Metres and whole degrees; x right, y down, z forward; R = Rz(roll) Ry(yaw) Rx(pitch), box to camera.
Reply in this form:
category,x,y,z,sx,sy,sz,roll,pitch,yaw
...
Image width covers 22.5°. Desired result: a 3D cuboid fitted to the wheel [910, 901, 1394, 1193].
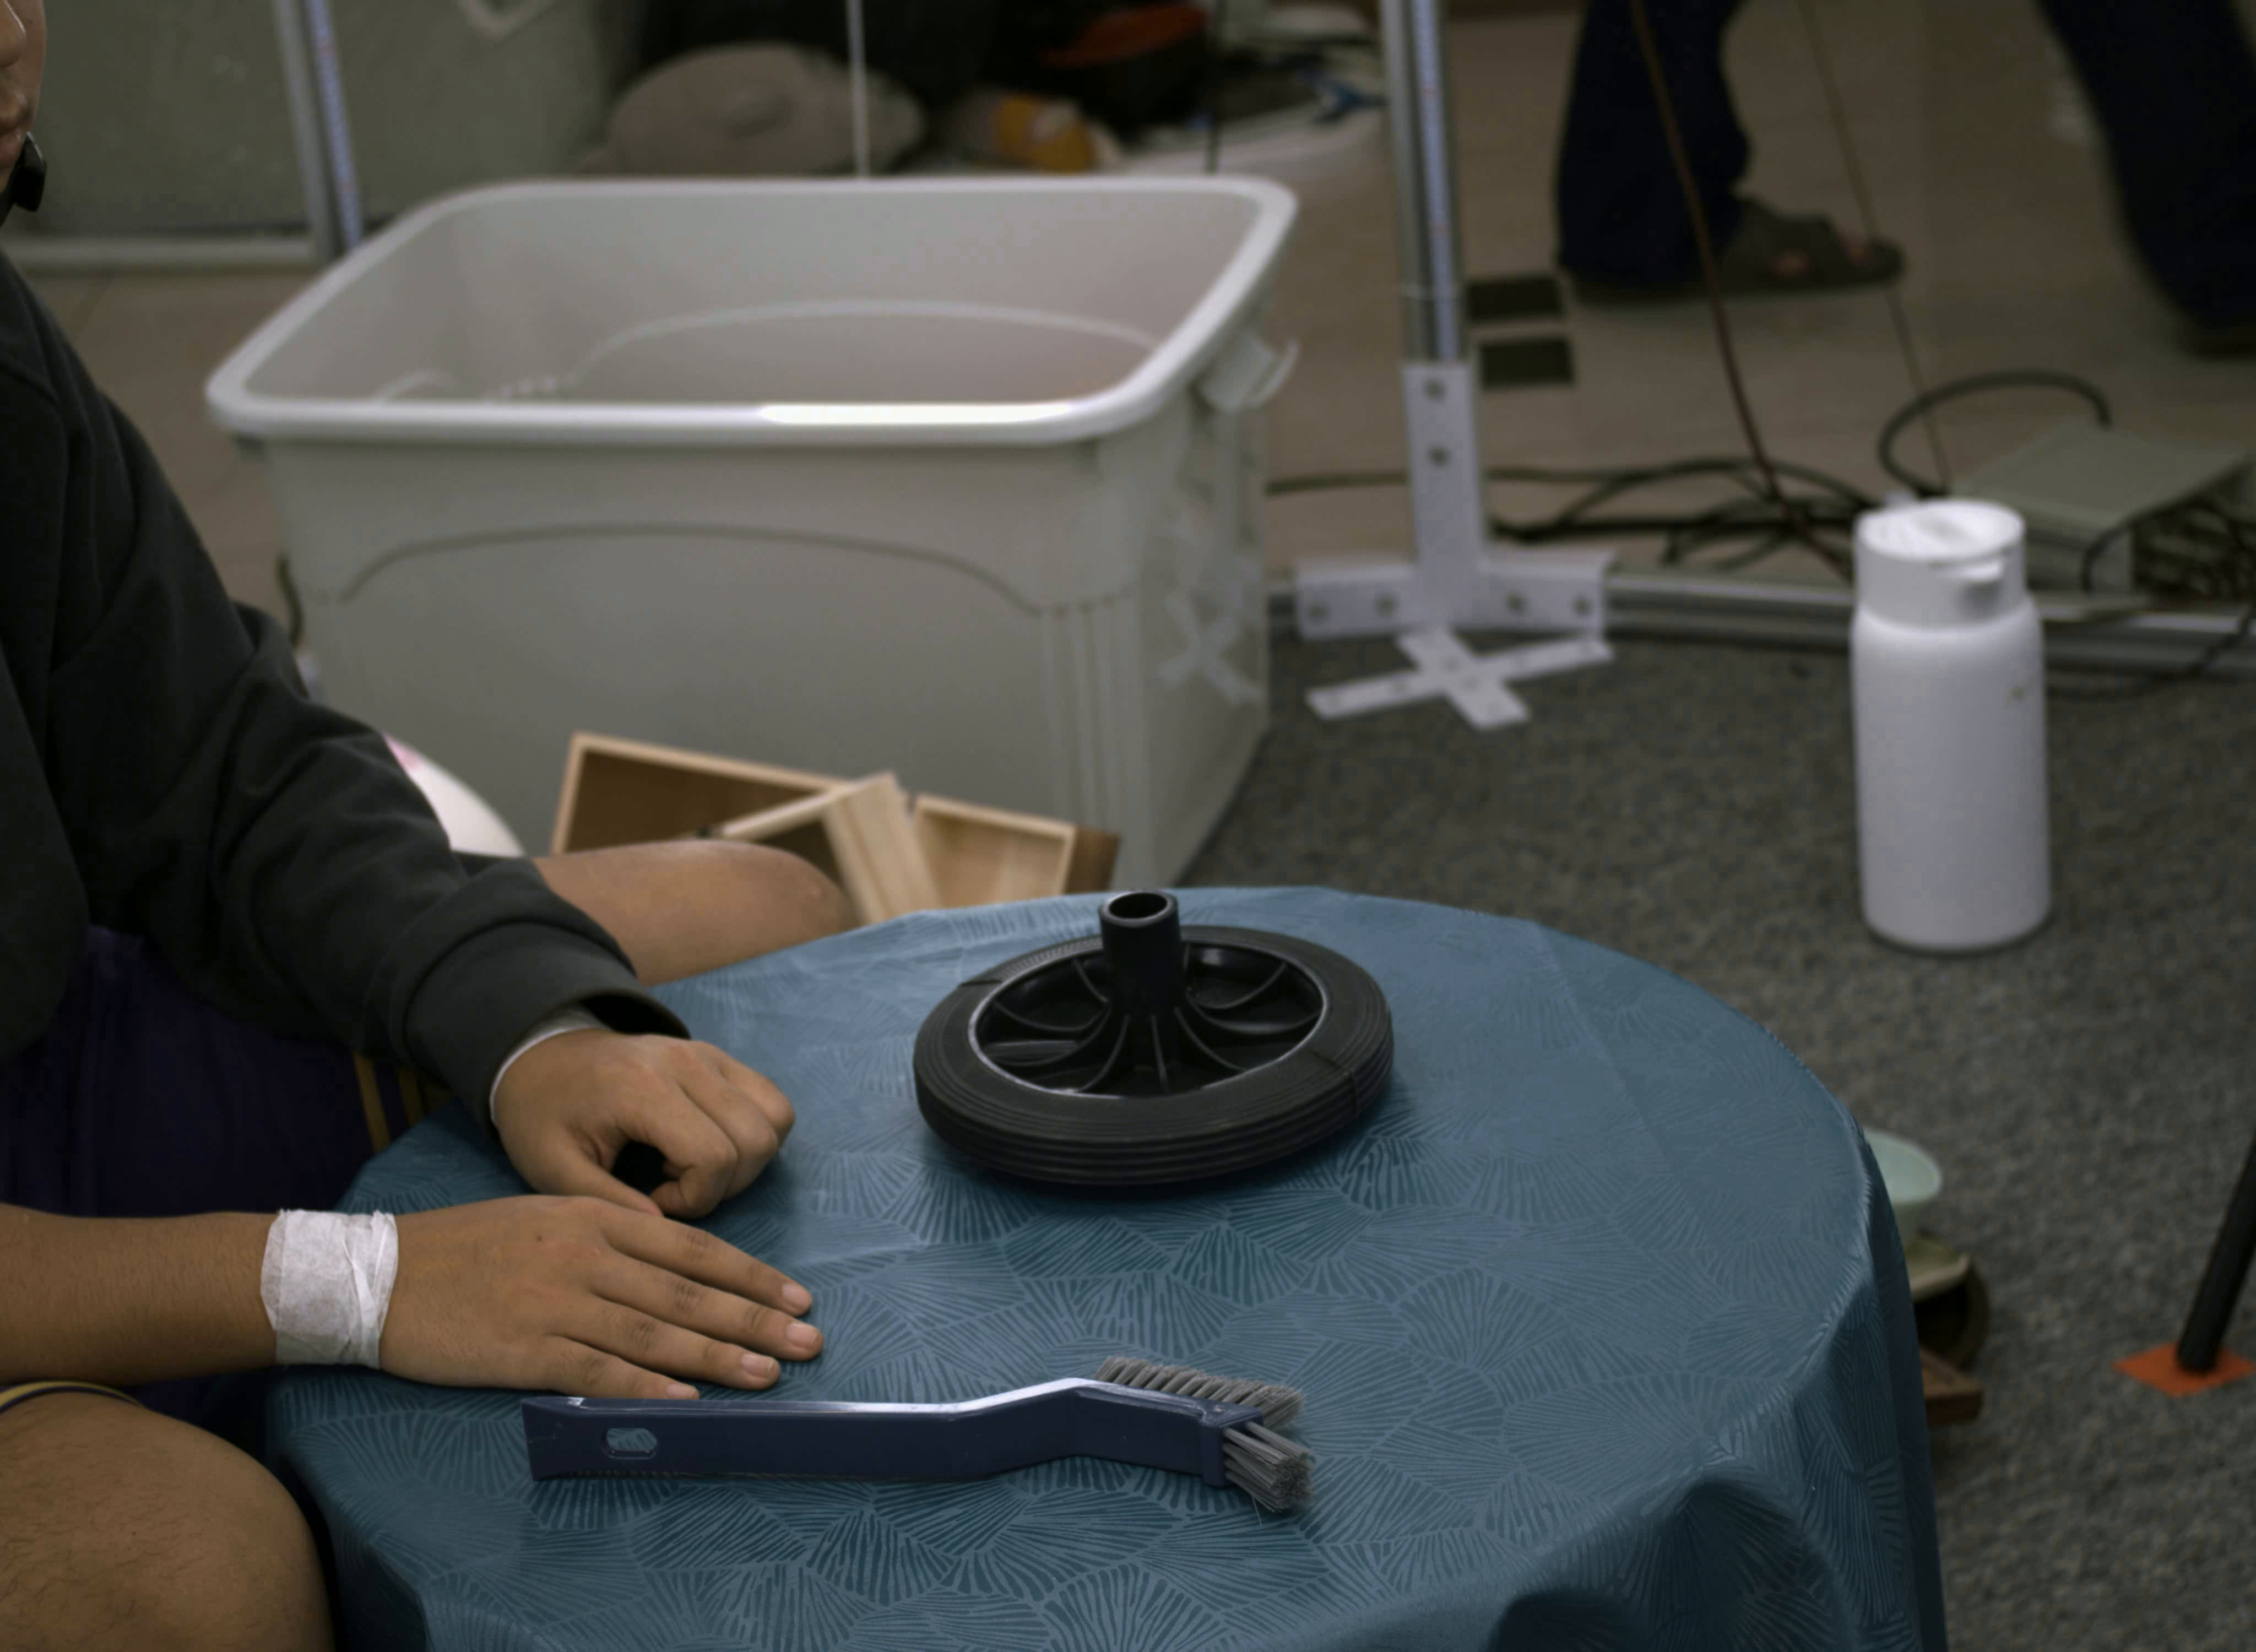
category,x,y,z,sx,sy,sz,roll,pitch,yaw
wheel,0.007,0.071,2.199,0.189,0.080,0.185,-14,26,-15

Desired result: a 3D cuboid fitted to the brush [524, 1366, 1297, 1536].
category,x,y,z,sx,sy,sz,roll,pitch,yaw
brush,-0.078,0.214,1.966,0.273,0.034,0.094,-3,26,4
